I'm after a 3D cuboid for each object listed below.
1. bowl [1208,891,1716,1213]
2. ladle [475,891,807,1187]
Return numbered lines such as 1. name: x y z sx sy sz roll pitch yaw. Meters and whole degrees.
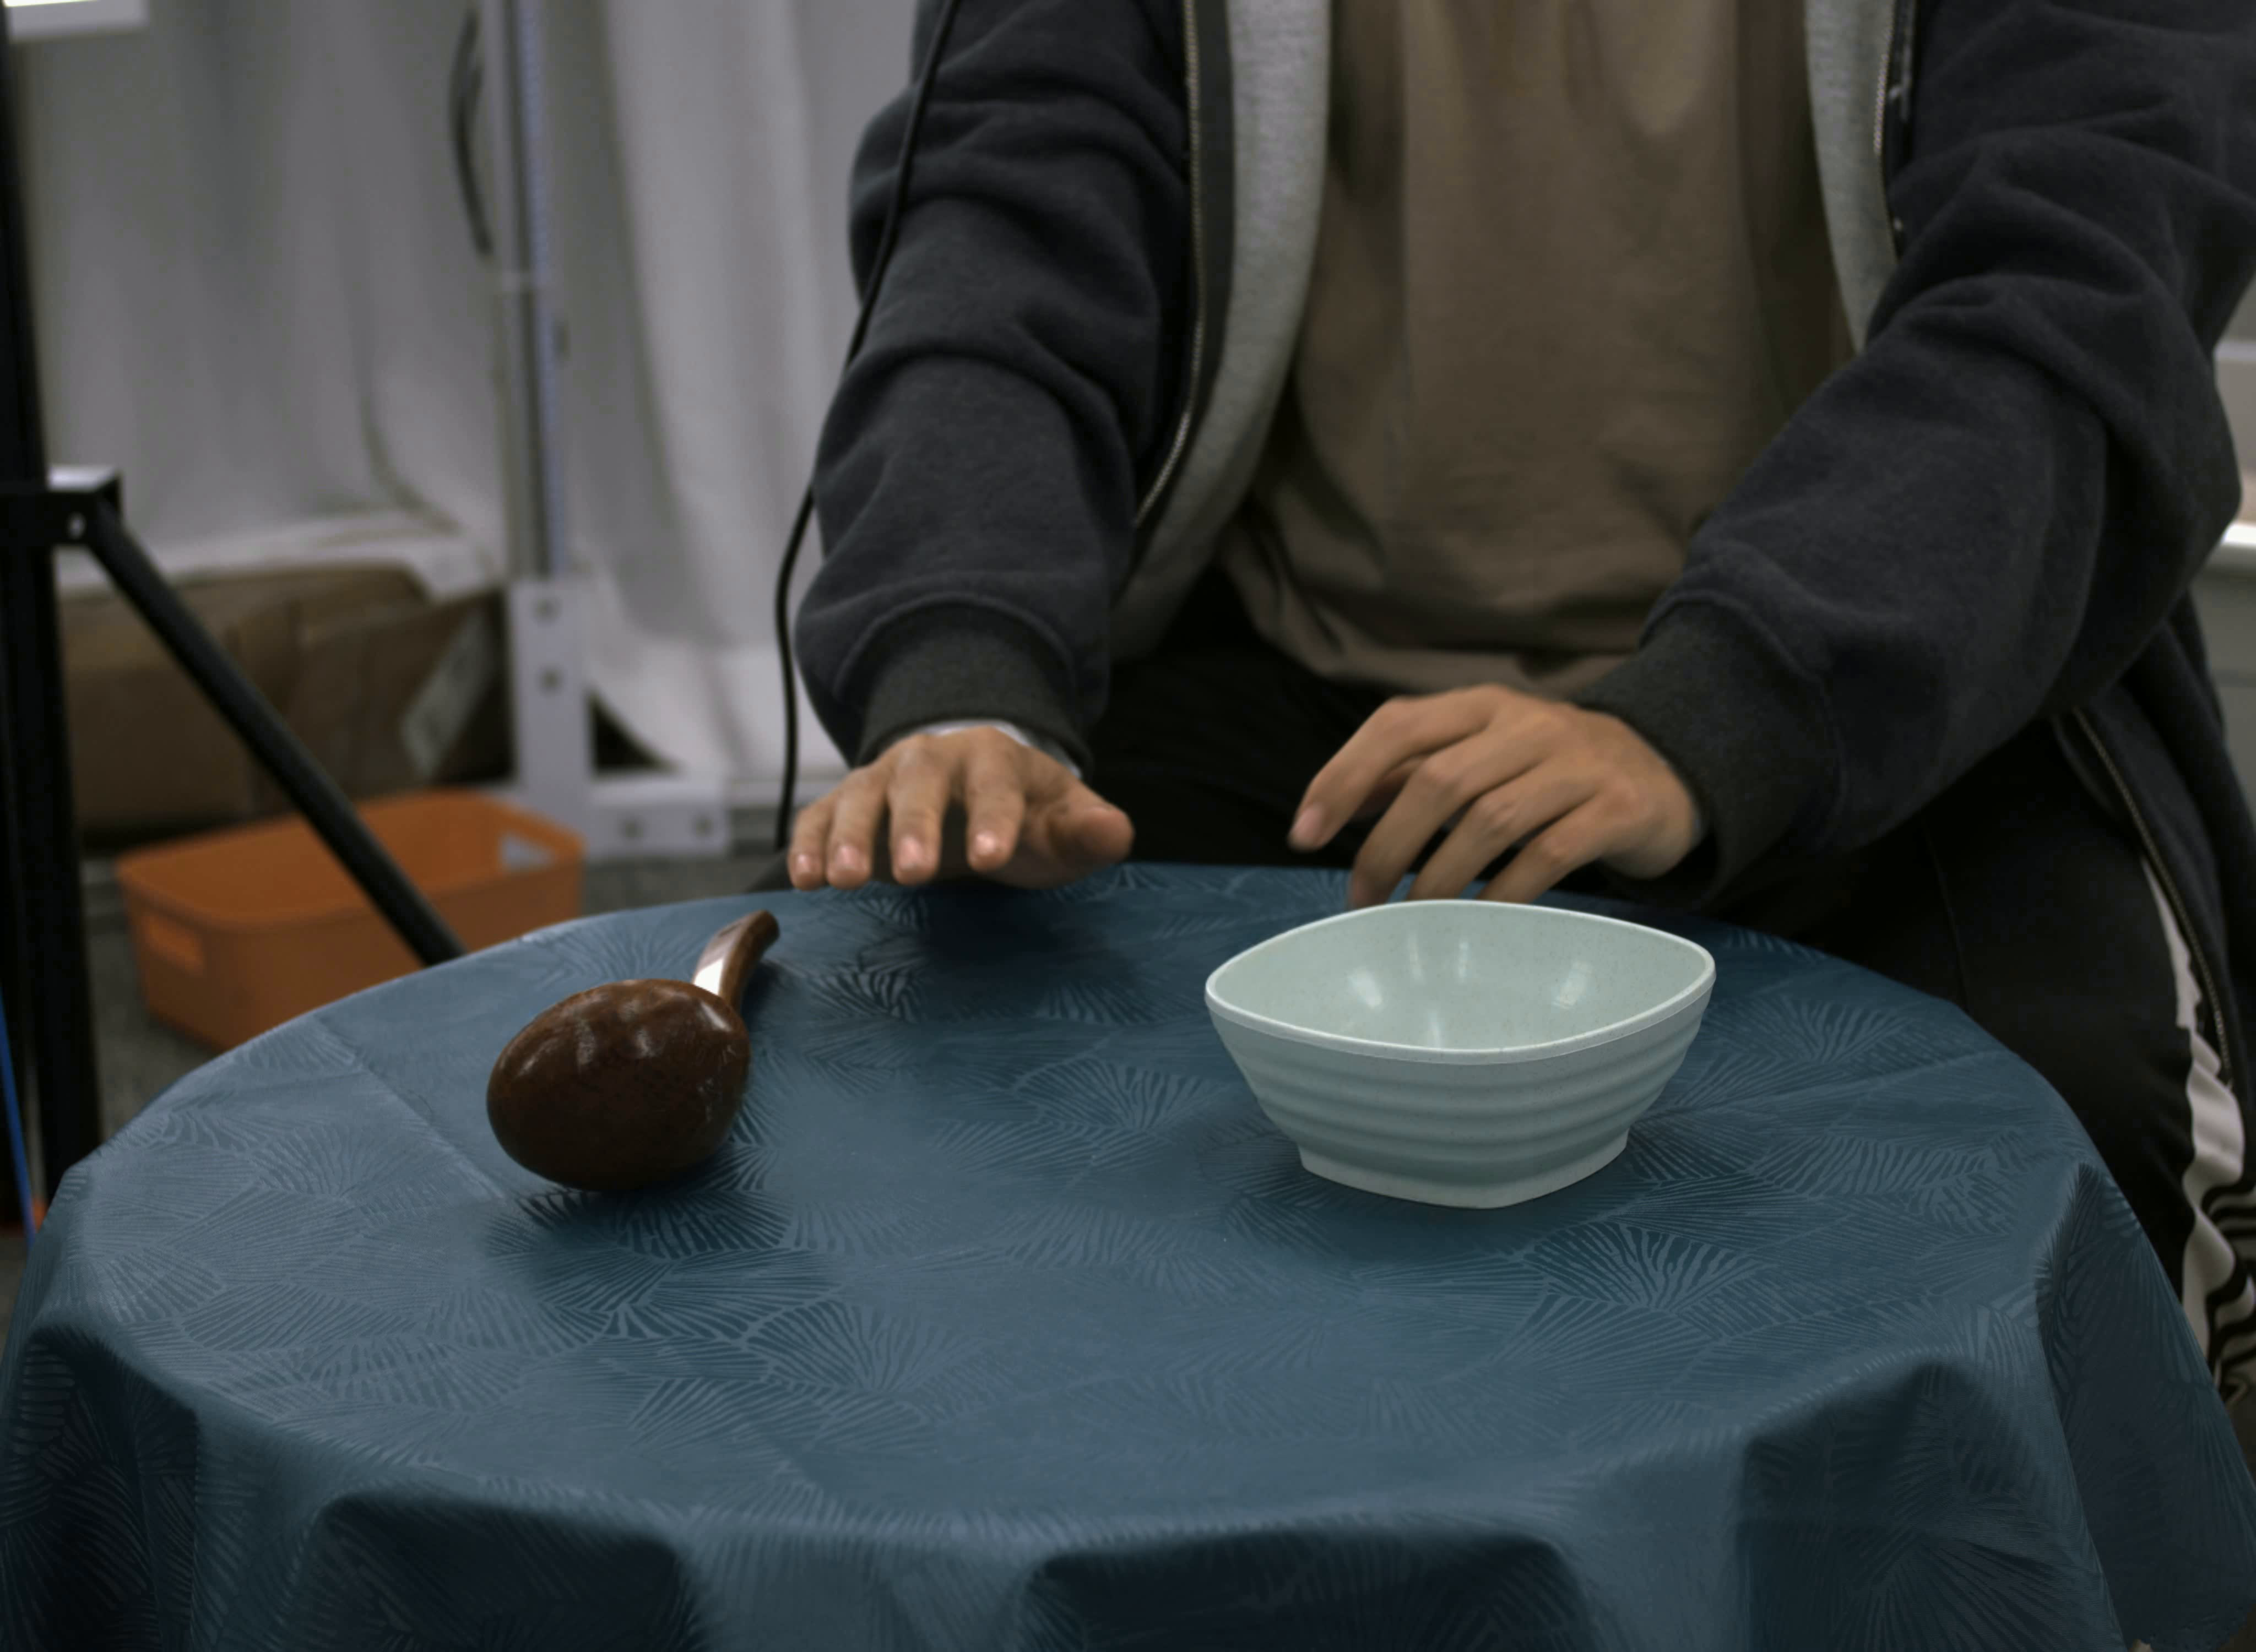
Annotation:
1. bowl: 0.100 0.070 1.570 0.151 0.058 0.152 -5 18 0
2. ladle: -0.145 0.045 1.668 0.082 0.076 0.274 -27 14 11
